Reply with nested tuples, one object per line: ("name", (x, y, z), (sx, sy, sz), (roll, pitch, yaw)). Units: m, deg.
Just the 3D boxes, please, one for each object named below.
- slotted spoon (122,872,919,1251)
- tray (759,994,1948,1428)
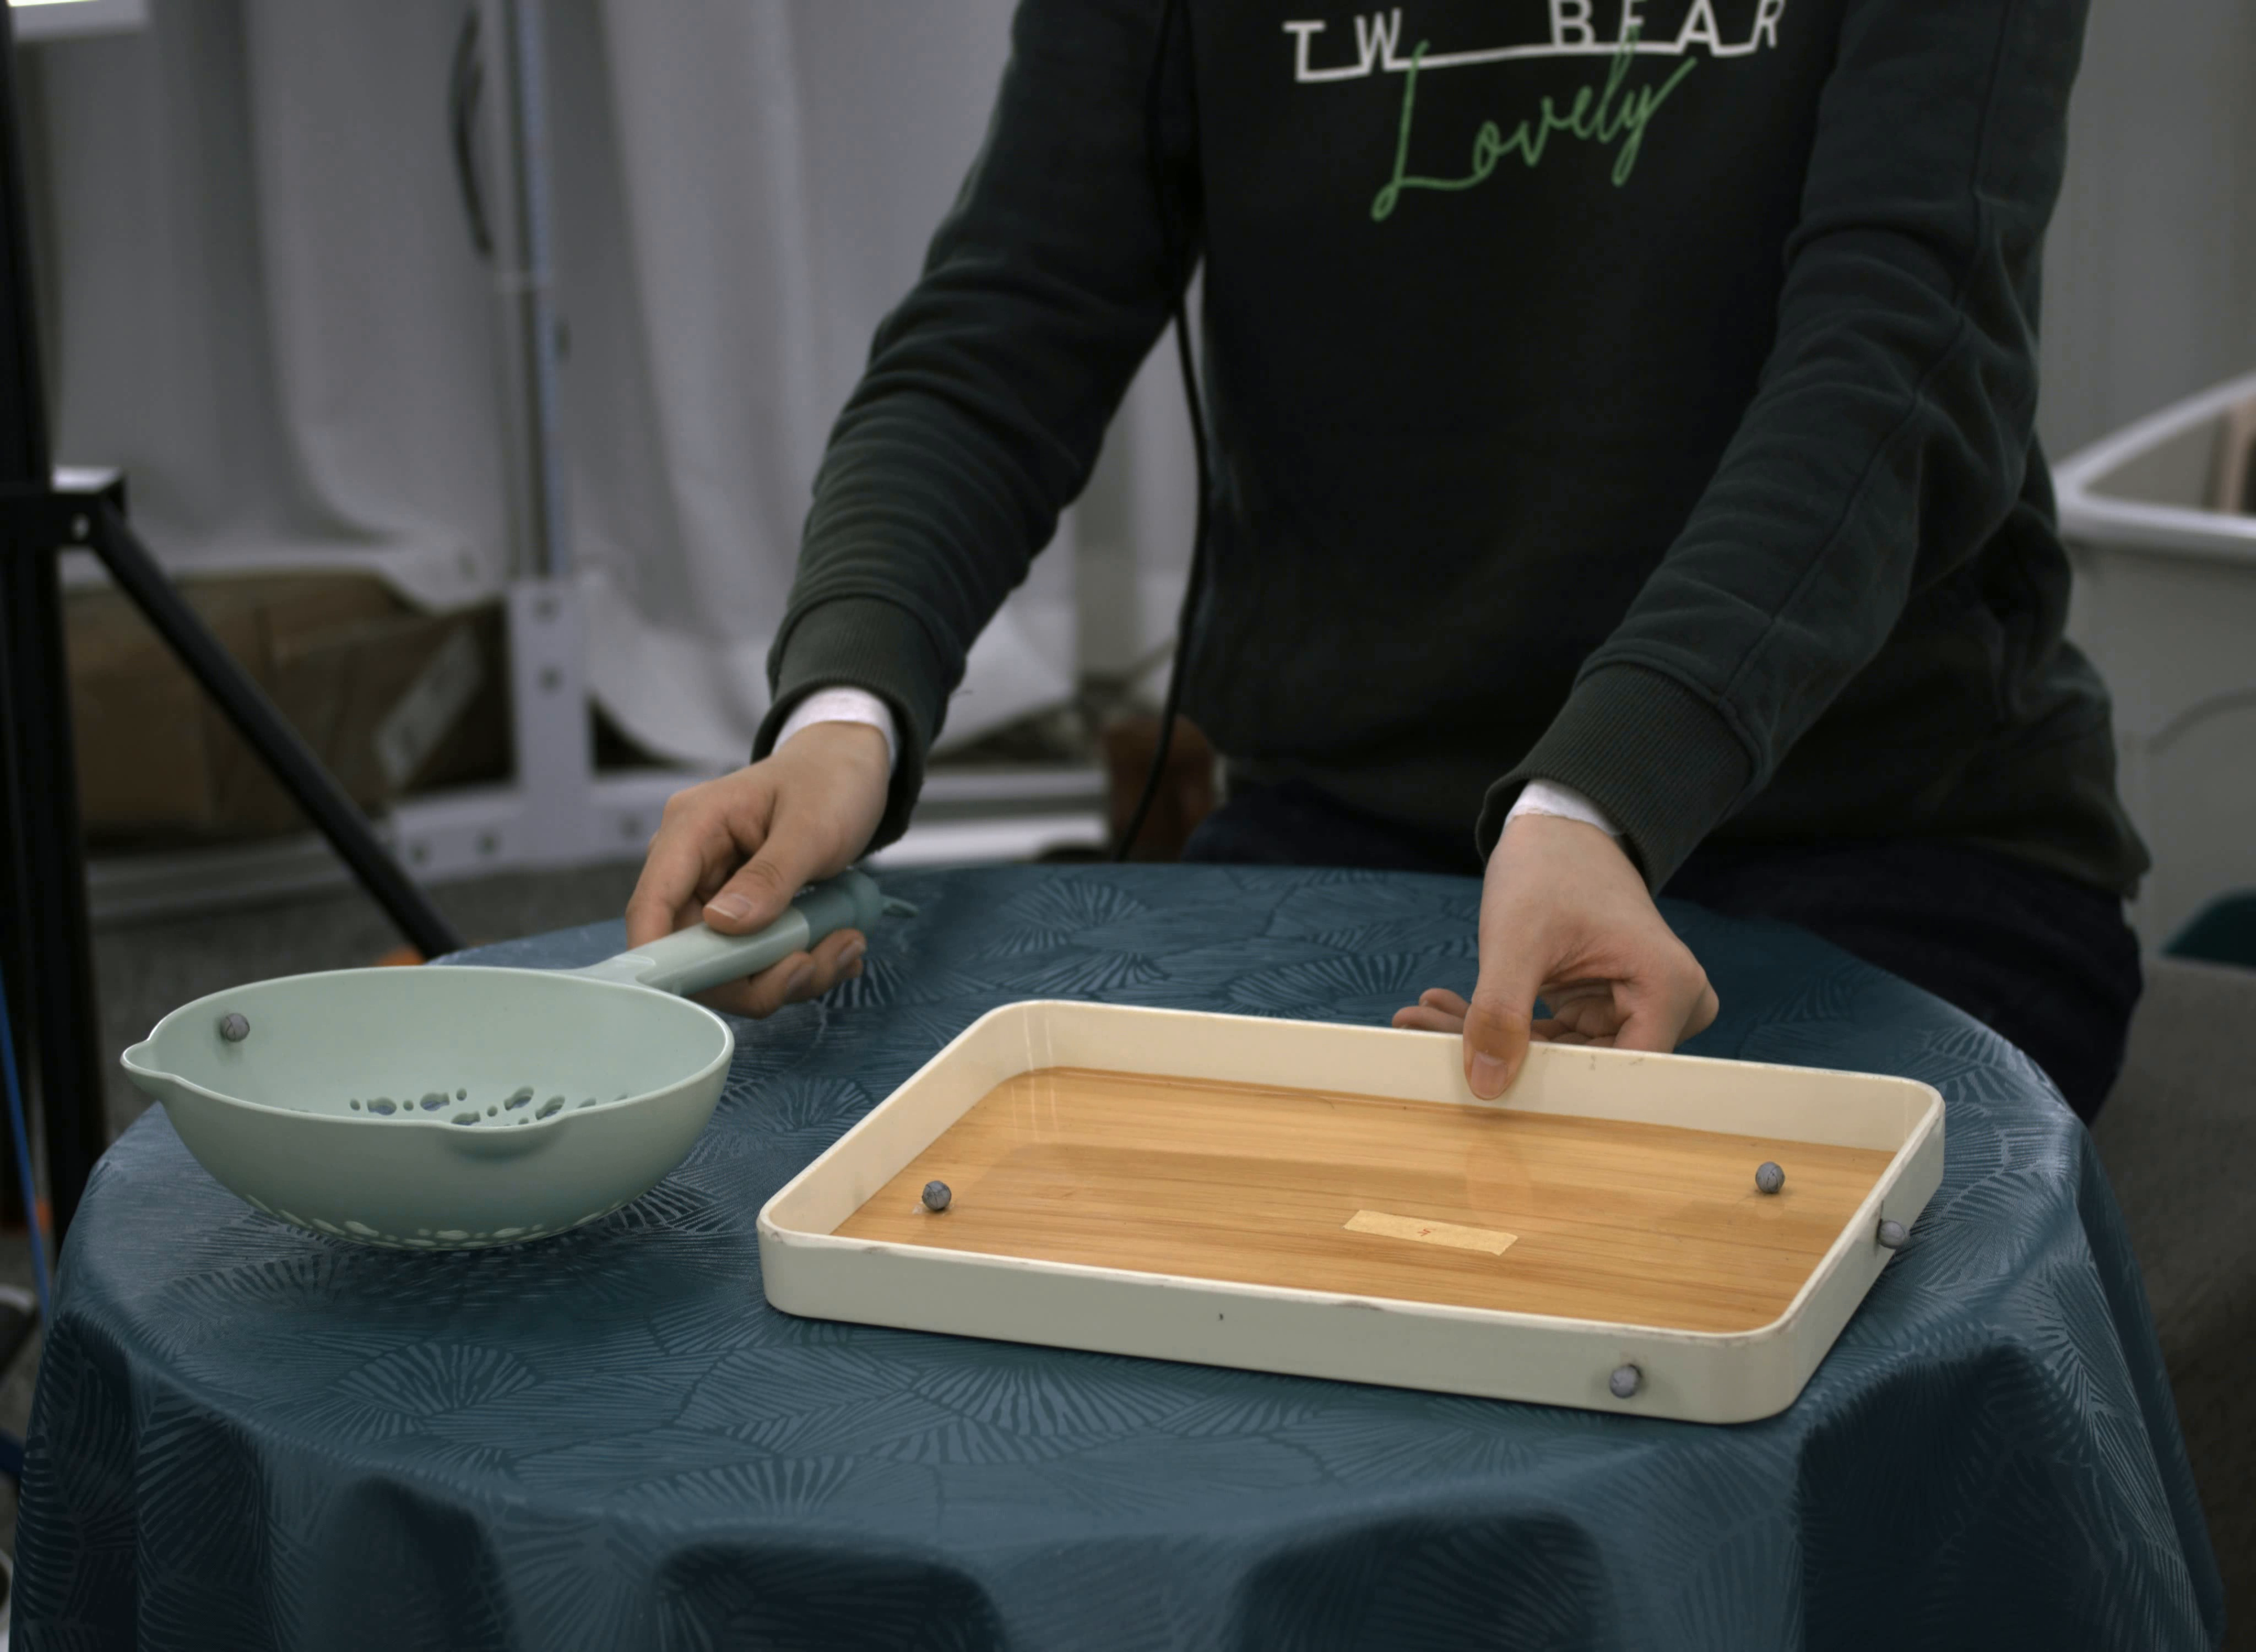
("slotted spoon", (-0.155, 0.056, 1.631), (0.172, 0.075, 0.353), (8, 22, 26))
("tray", (0.066, 0.104, 1.492), (0.304, 0.027, 0.189), (5, 21, 24))
